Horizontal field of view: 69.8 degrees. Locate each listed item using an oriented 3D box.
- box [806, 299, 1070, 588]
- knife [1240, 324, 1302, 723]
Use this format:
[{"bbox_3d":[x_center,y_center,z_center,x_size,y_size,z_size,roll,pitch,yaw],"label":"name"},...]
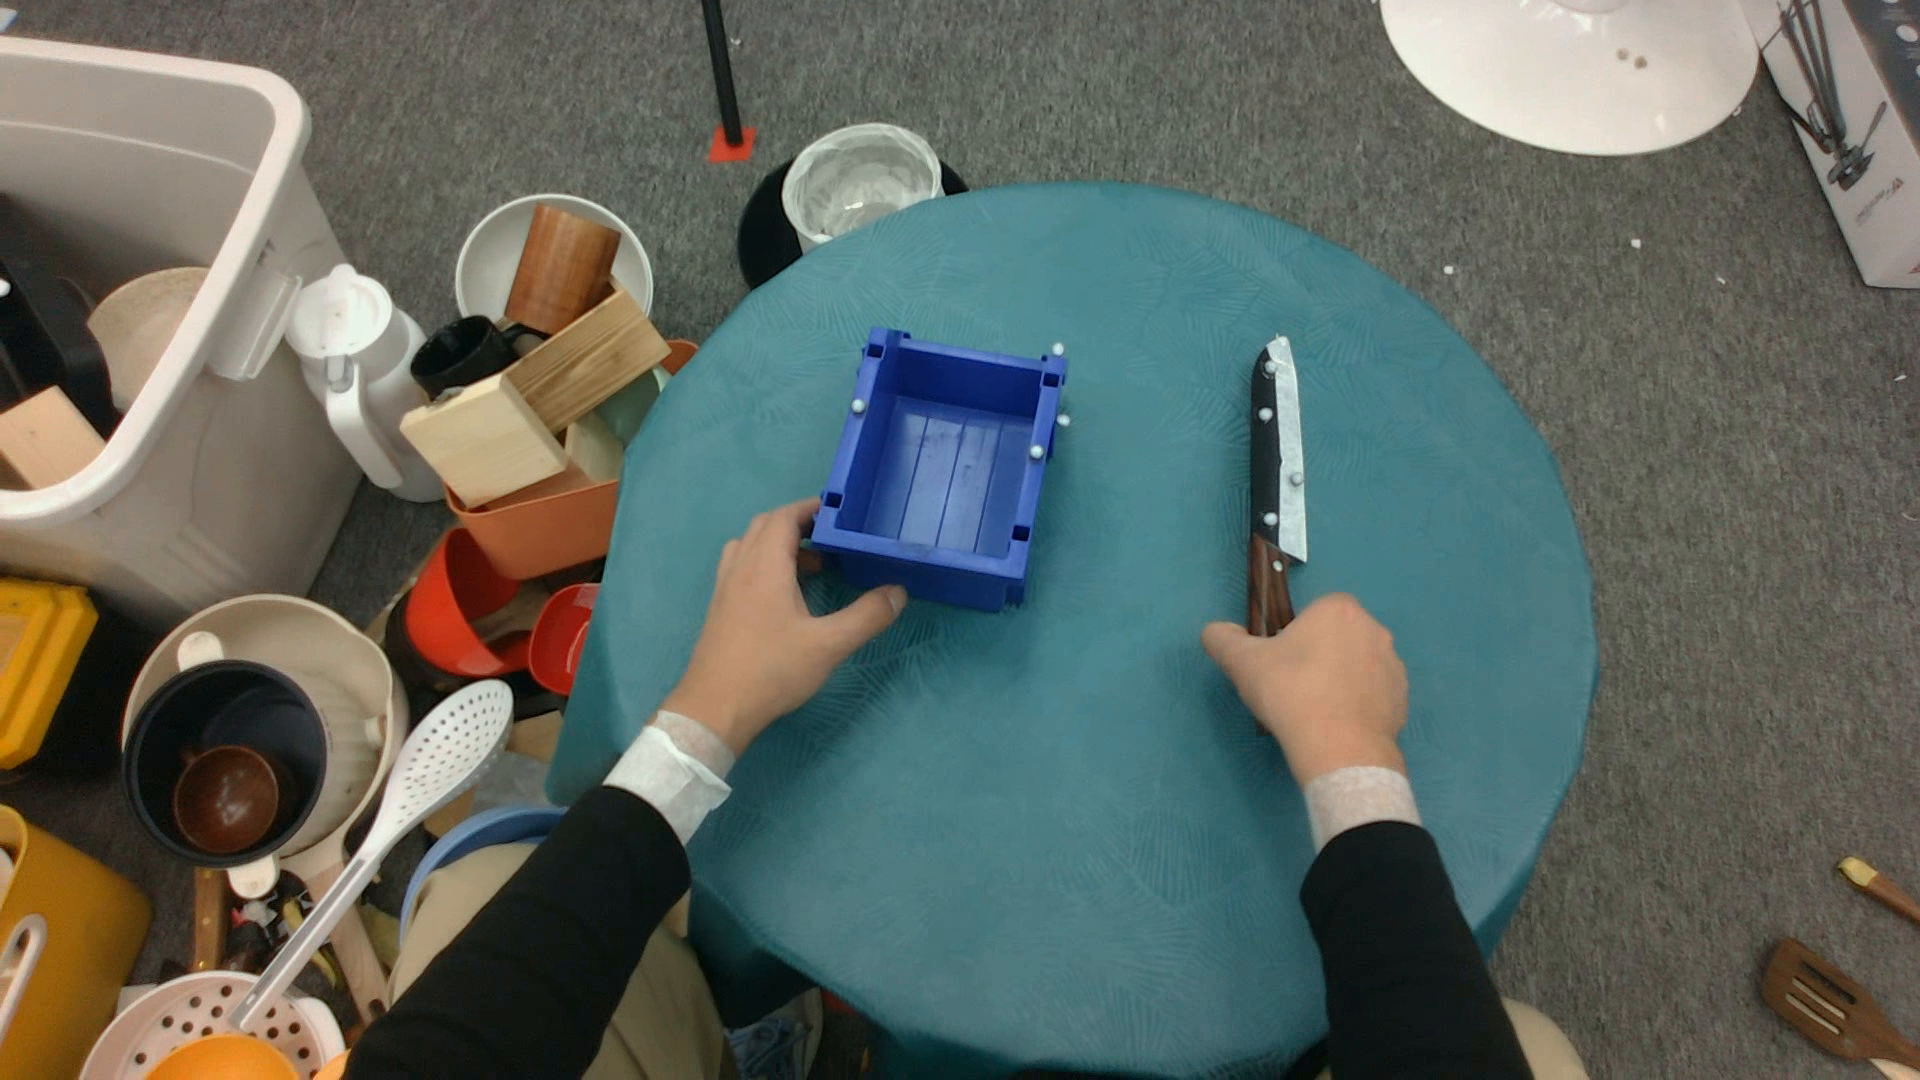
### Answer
[{"bbox_3d":[-0.010,-0.065,0.831,0.124,0.081,0.180,11,66,6],"label":"box"},{"bbox_3d":[0.190,-0.020,0.838,0.050,0.020,0.290,25,56,-24],"label":"knife"}]
